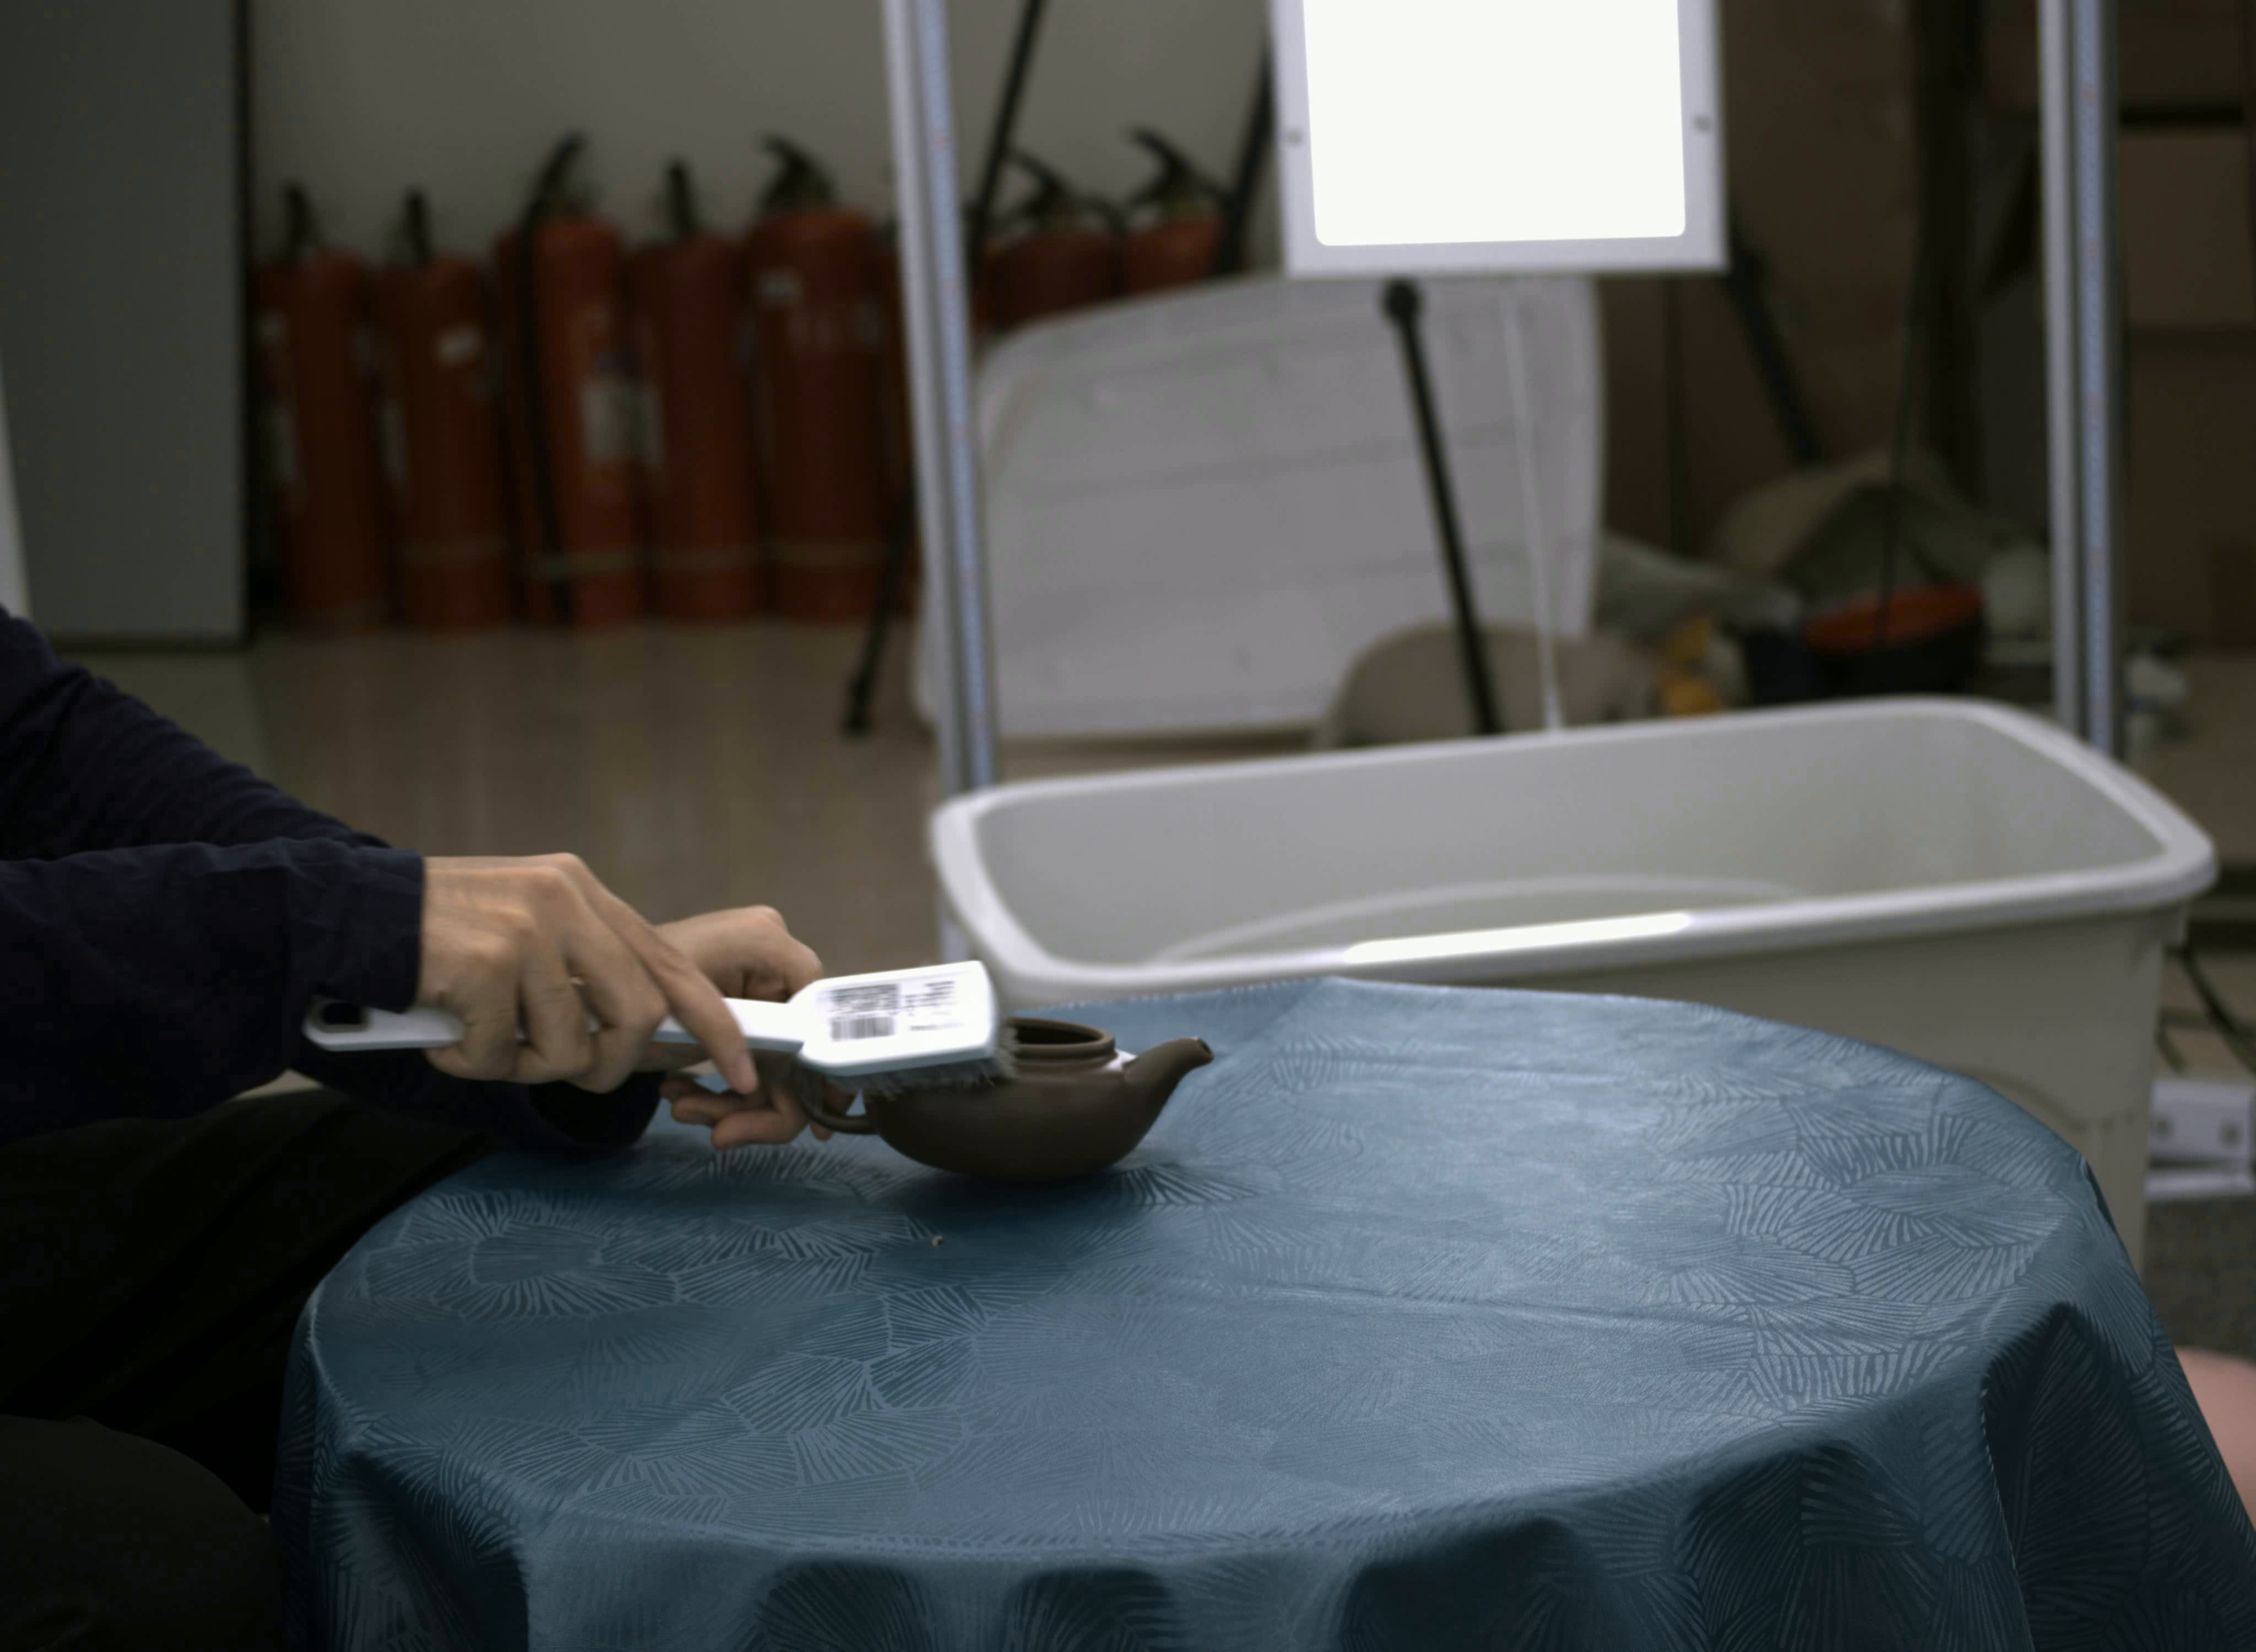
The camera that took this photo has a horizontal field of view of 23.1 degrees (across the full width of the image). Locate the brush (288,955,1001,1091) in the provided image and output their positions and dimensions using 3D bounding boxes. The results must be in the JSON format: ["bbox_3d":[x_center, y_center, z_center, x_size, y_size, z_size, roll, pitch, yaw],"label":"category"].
[{"bbox_3d":[-0.160,0.071,1.848,0.240,0.034,0.051,-3,-22,-11],"label":"brush"}]

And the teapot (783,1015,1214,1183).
[{"bbox_3d":[-0.046,0.093,1.922,0.154,0.054,0.101,6,7,11],"label":"teapot"}]
